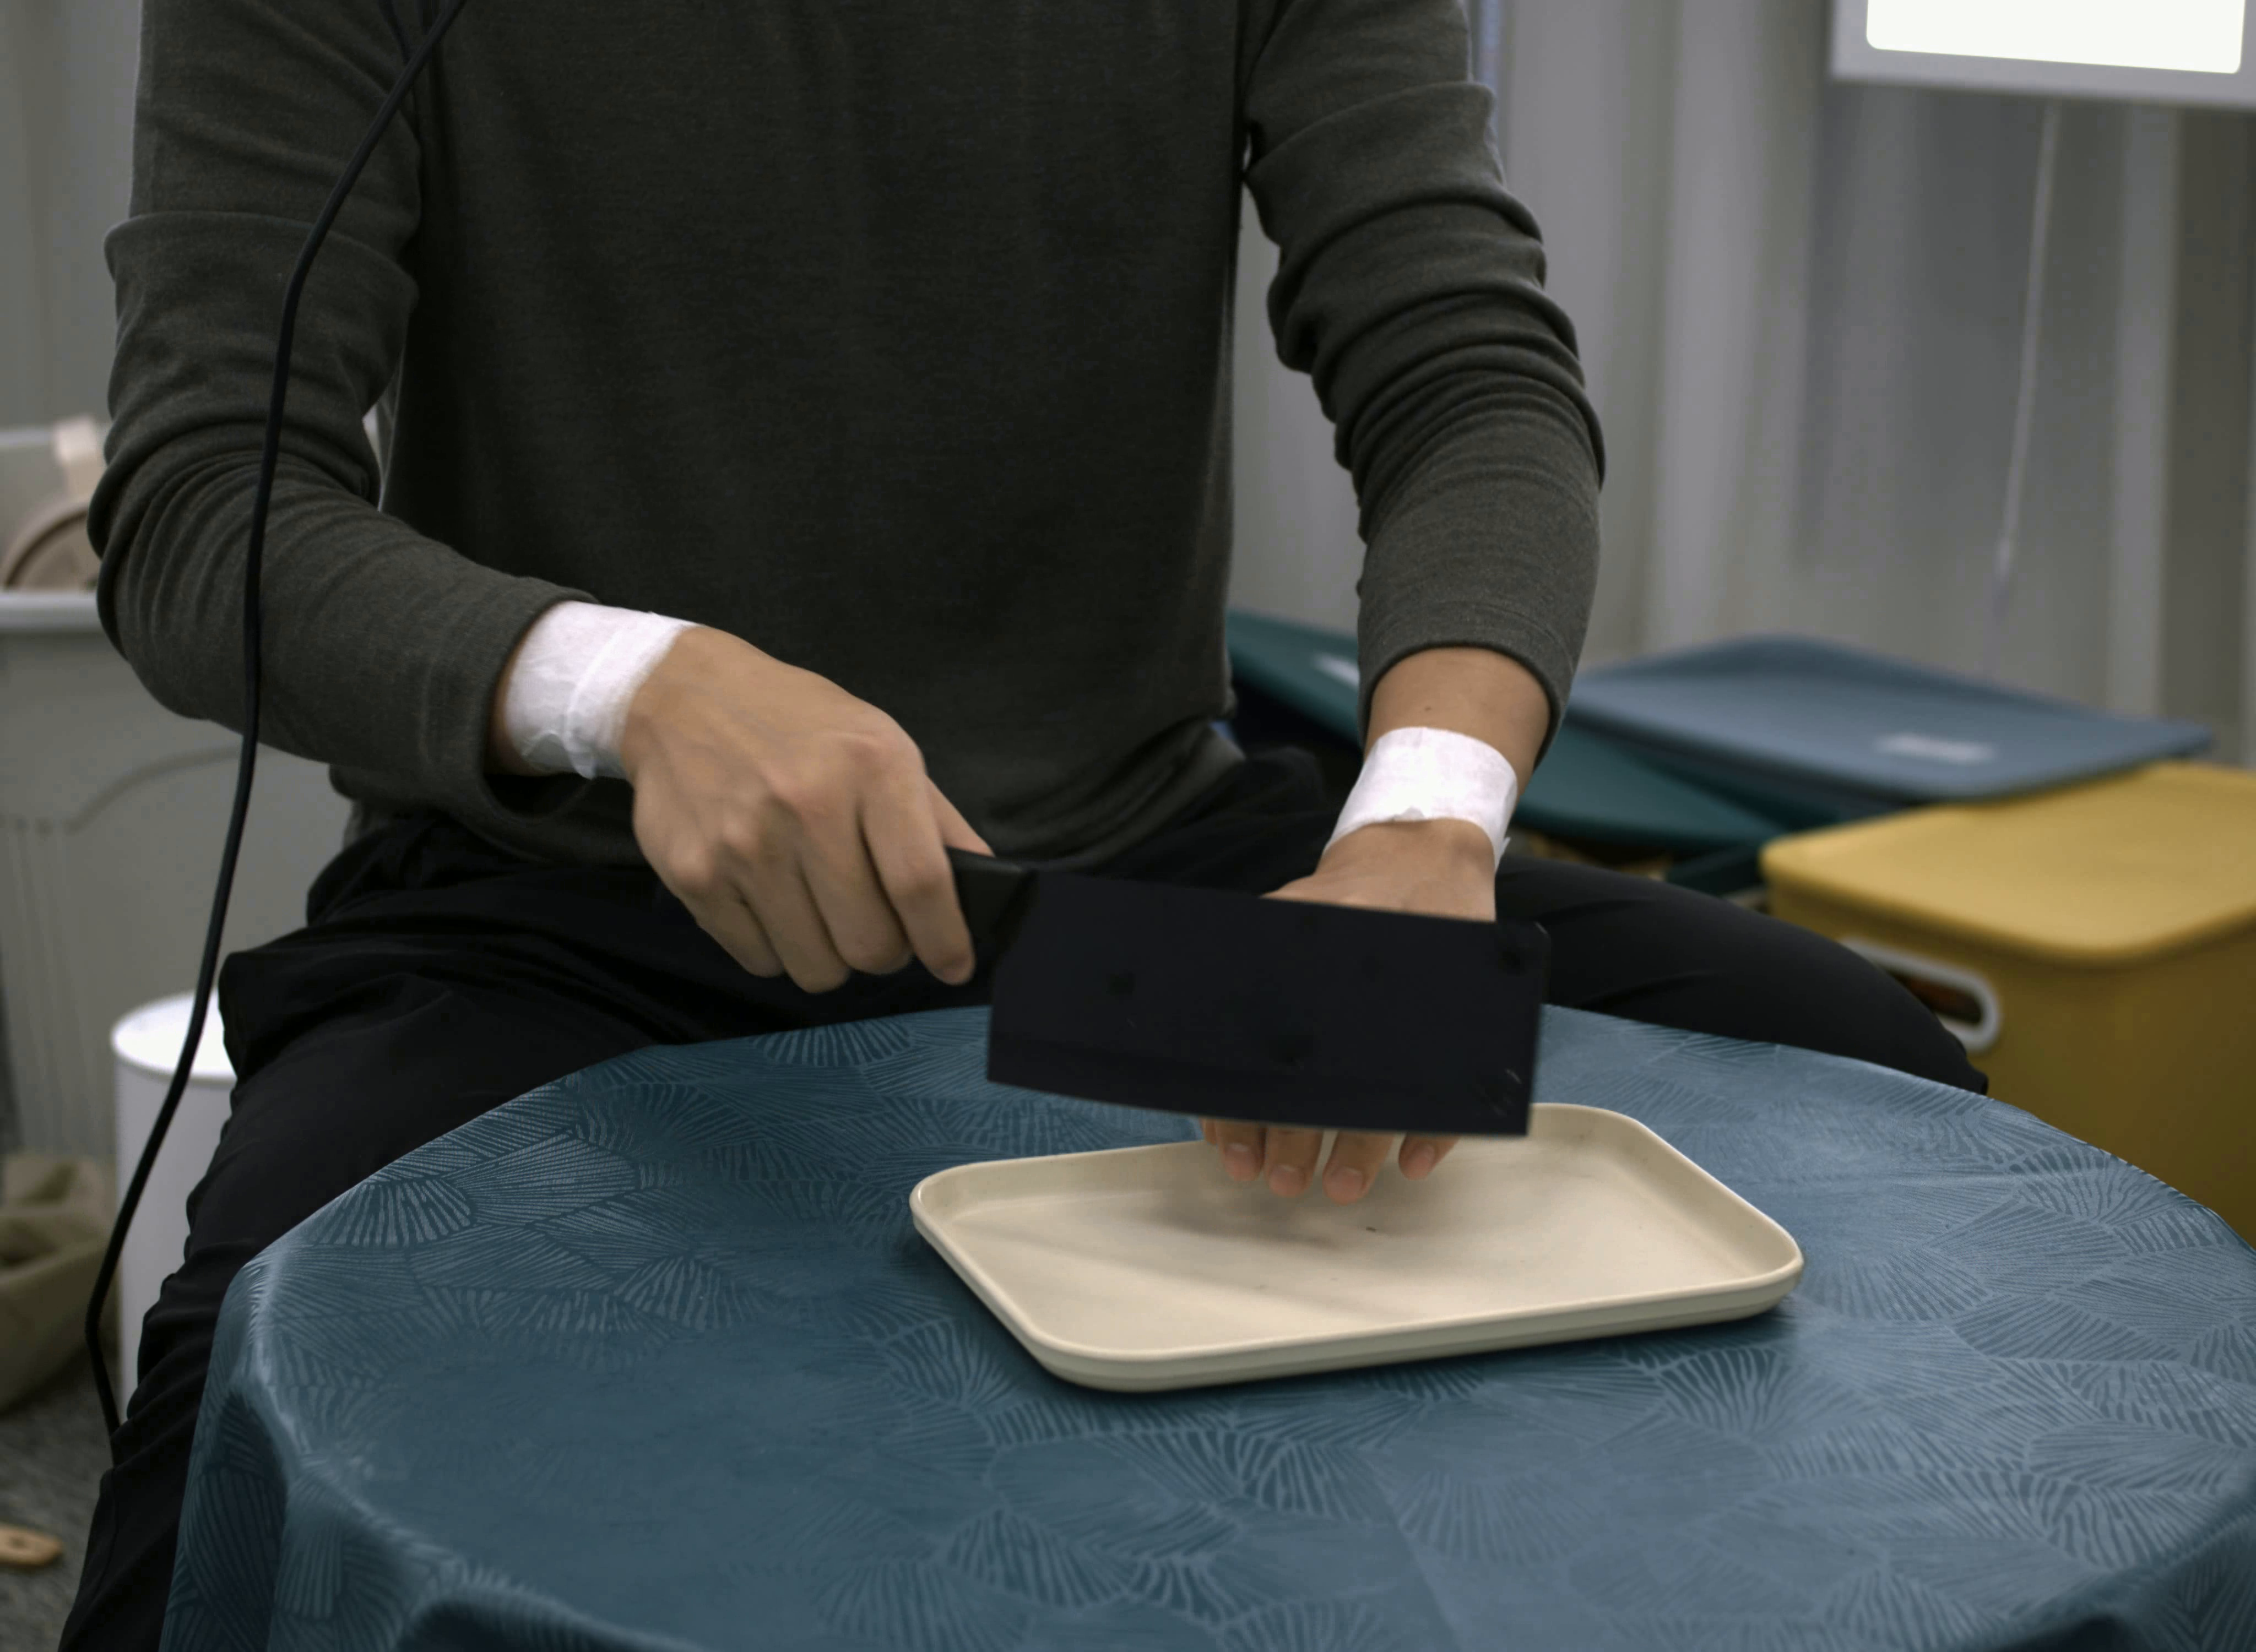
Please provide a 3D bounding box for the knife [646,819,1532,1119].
[{"bbox_3d":[-0.016,0.039,1.545,0.299,0.081,0.021,10,4,29],"label":"knife"}]

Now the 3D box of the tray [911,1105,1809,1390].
[{"bbox_3d":[0.067,0.123,1.553,0.240,0.017,0.169,-5,16,-19],"label":"tray"}]
